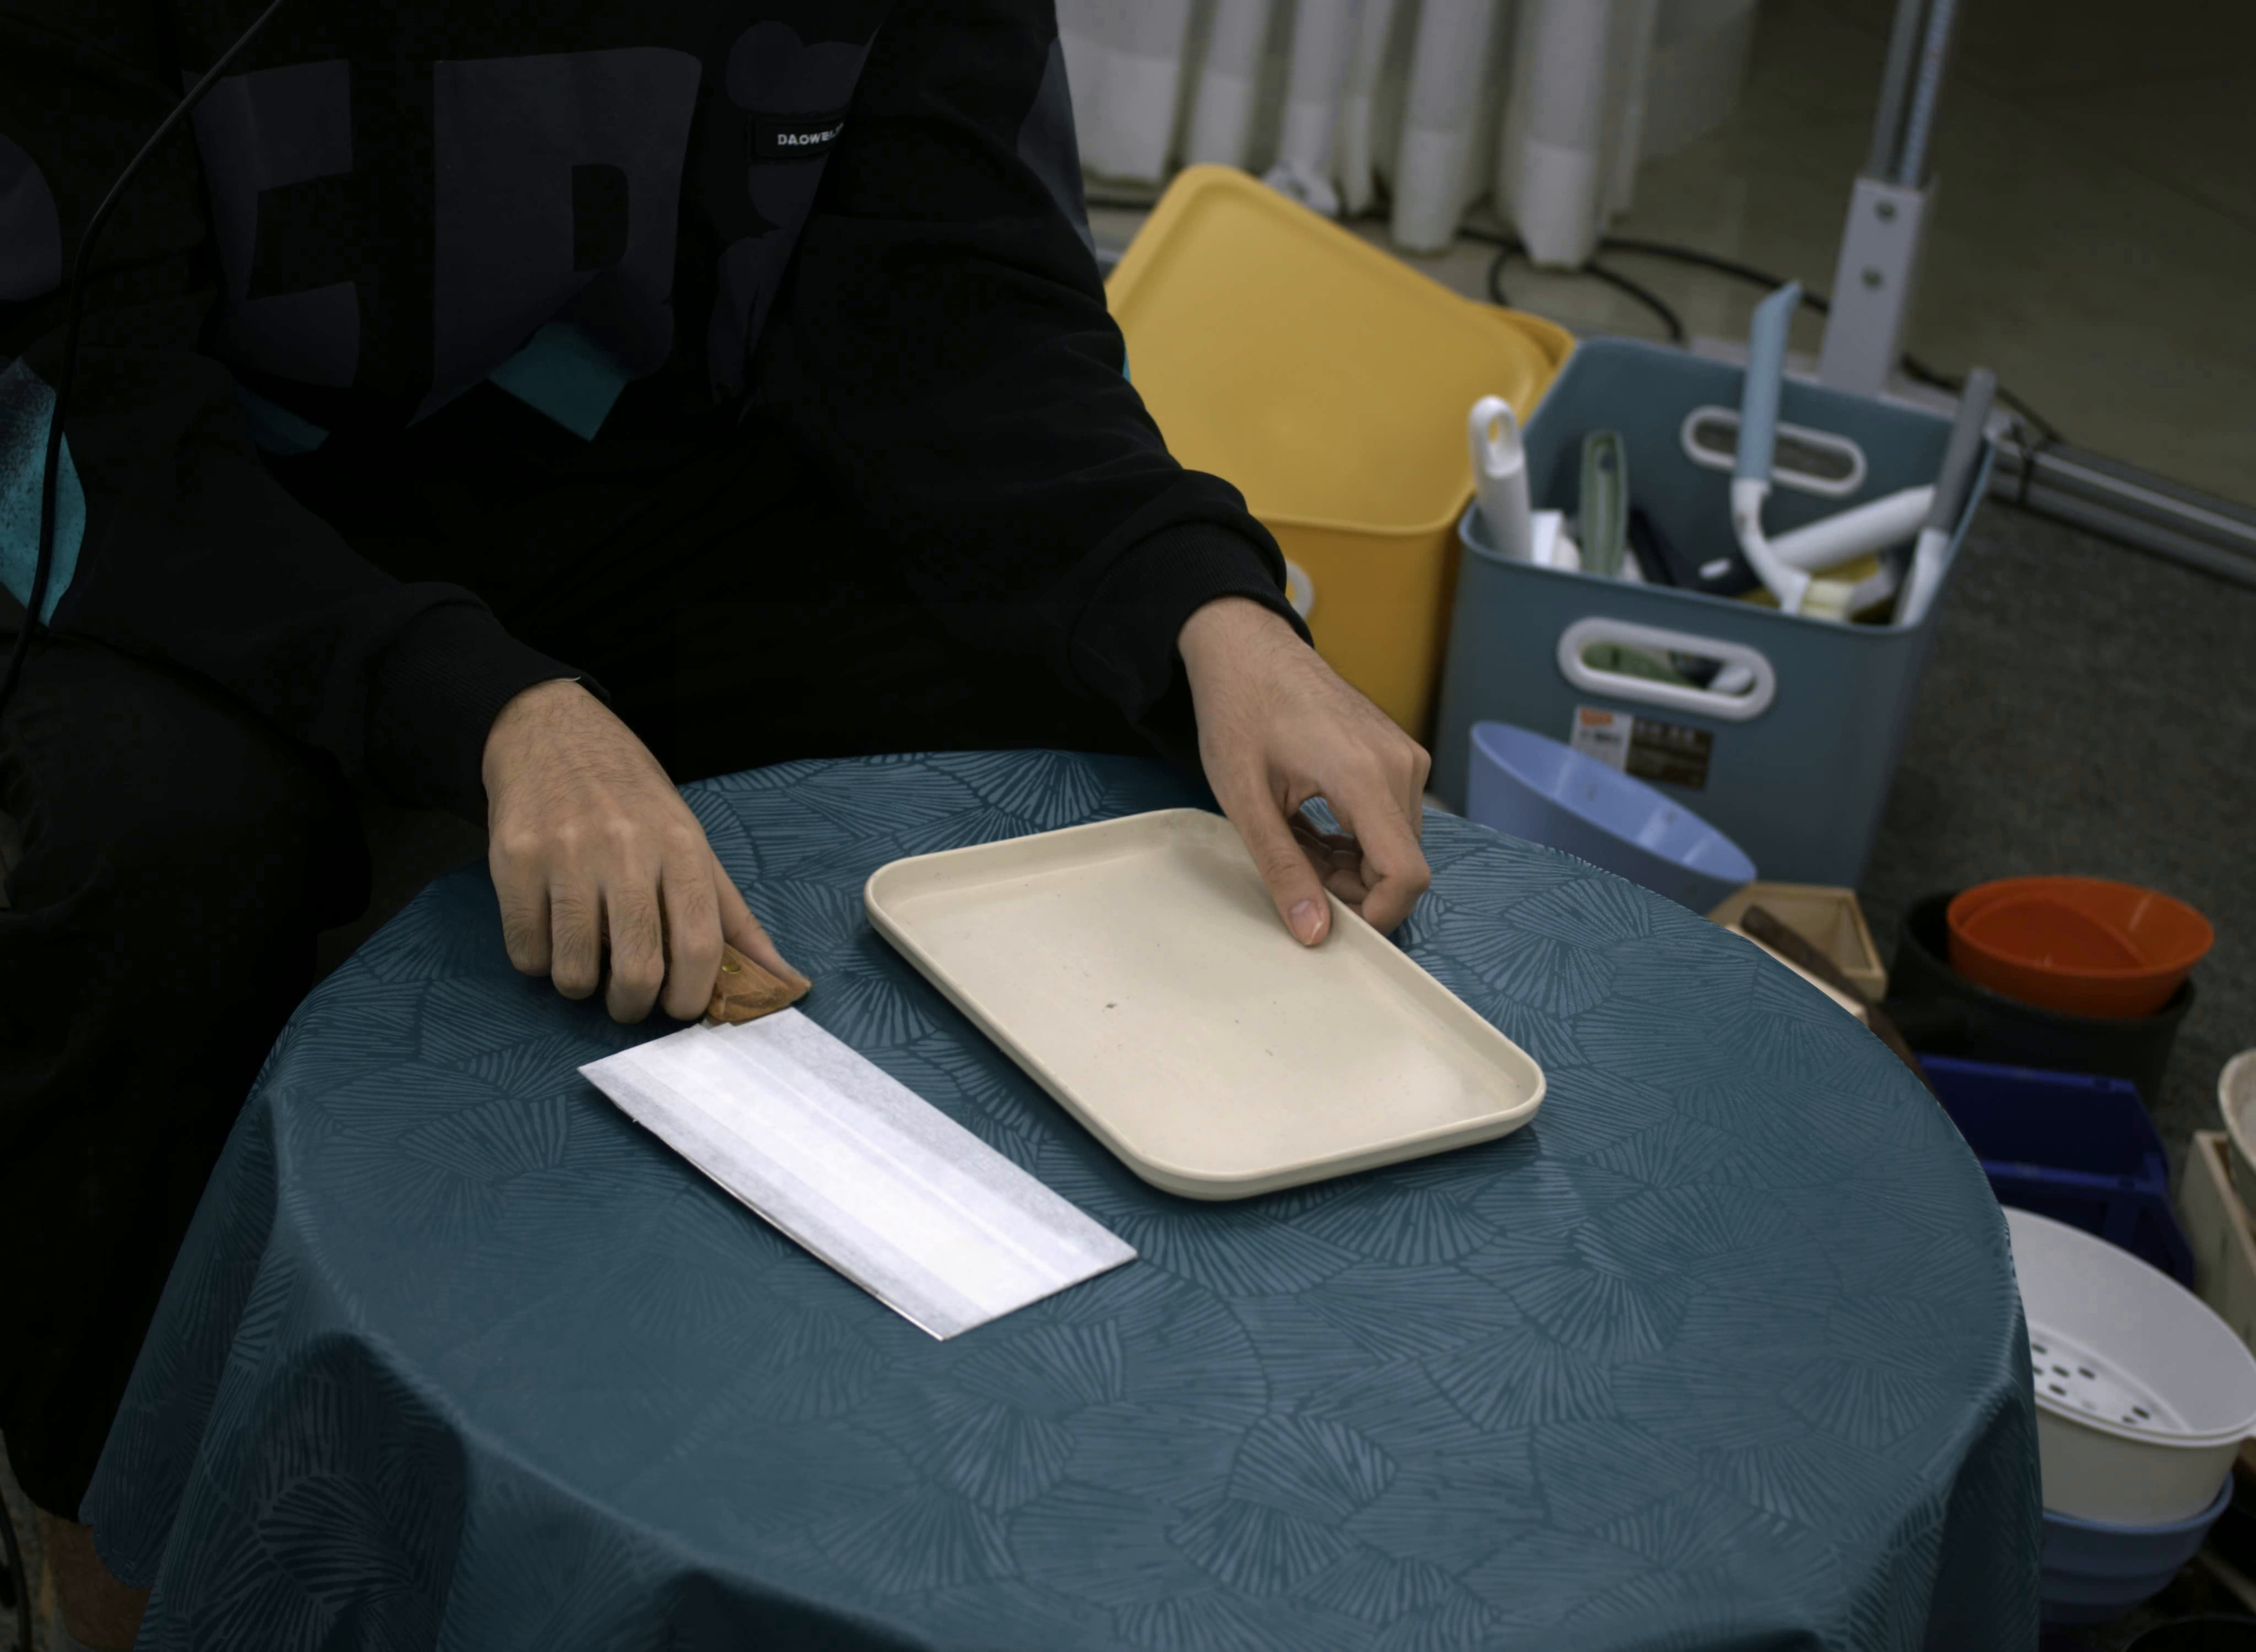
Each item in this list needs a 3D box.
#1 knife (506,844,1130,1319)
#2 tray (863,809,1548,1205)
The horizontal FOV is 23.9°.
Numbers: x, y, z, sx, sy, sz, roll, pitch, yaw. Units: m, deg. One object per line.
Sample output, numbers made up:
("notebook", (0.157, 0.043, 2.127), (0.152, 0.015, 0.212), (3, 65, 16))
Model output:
("knife", (-0.130, 0.088, 1.827), (0.092, 0.021, 0.308), (-20, 39, -39))
("tray", (0.025, 0.063, 1.906), (0.170, 0.017, 0.242), (-12, 32, -30))
